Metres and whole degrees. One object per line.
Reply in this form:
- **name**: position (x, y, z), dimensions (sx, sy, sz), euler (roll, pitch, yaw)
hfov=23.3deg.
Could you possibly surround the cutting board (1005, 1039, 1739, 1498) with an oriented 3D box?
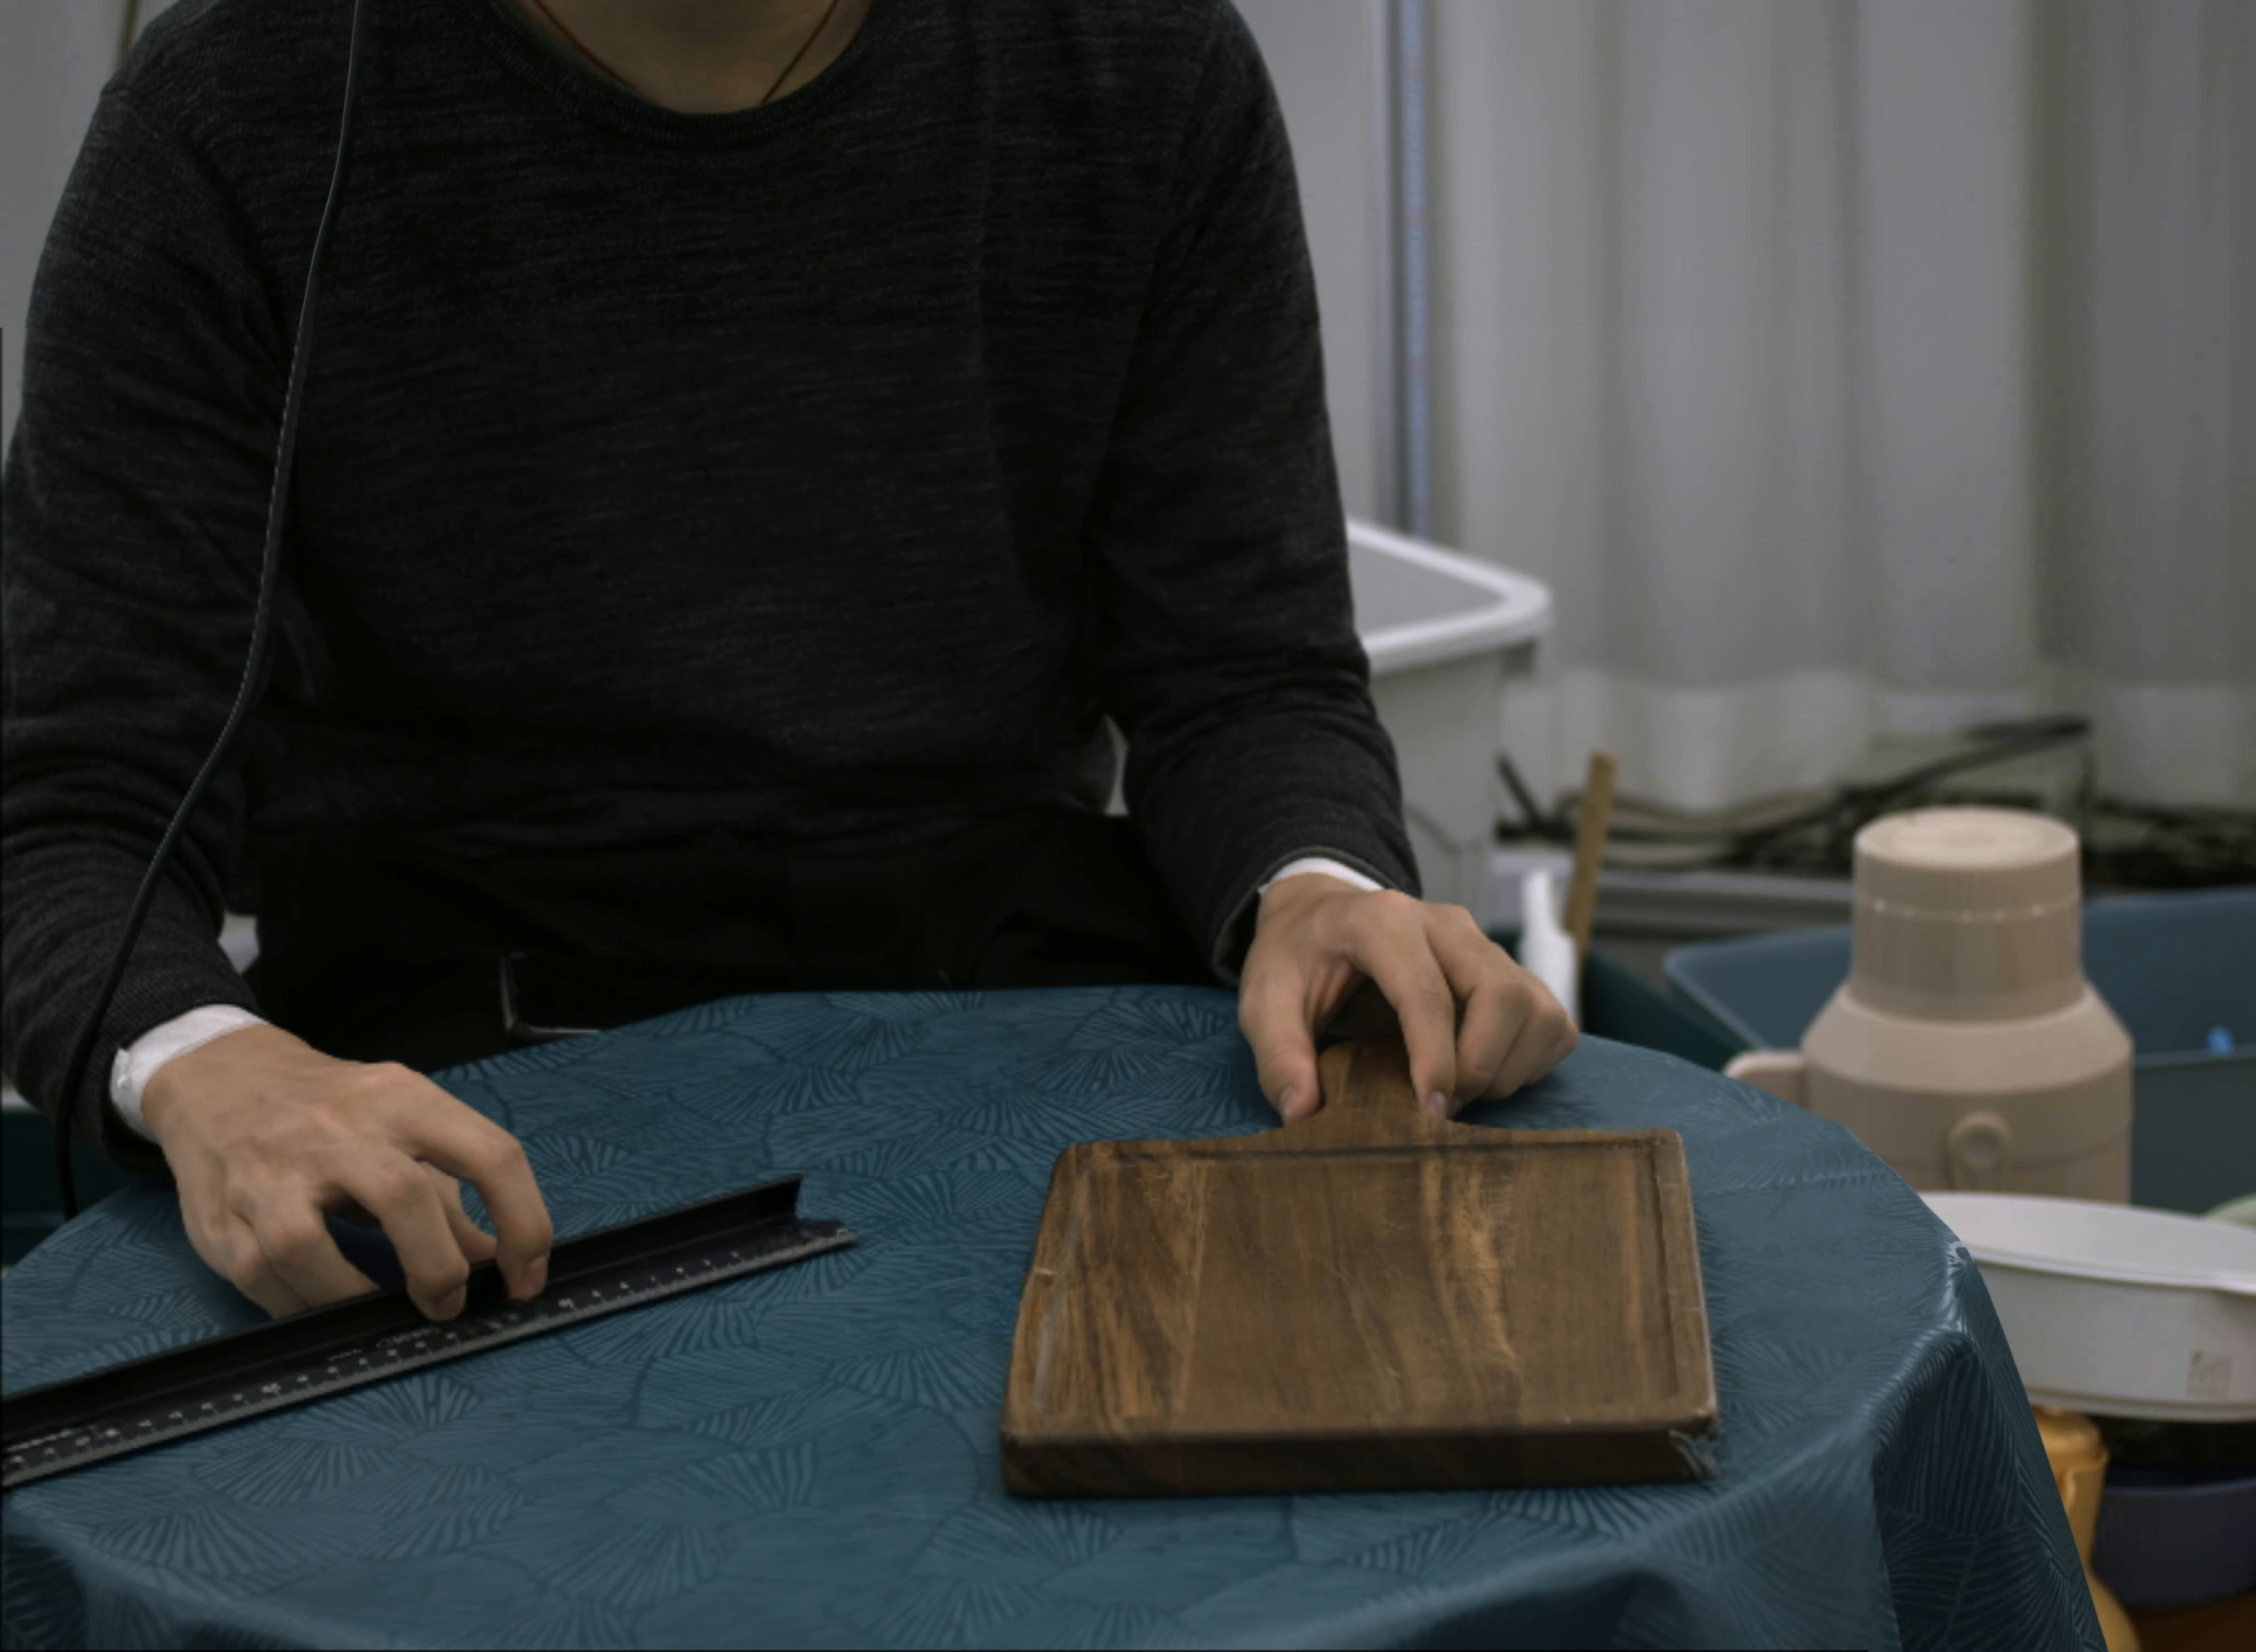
- **cutting board**: position (0.071, 0.124, 1.625), dimensions (0.200, 0.023, 0.354), euler (-2, 14, 3)

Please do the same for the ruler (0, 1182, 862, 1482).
- **ruler**: position (-0.216, 0.148, 1.598), dimensions (0.311, 0.017, 0.039), euler (-13, 18, -34)
